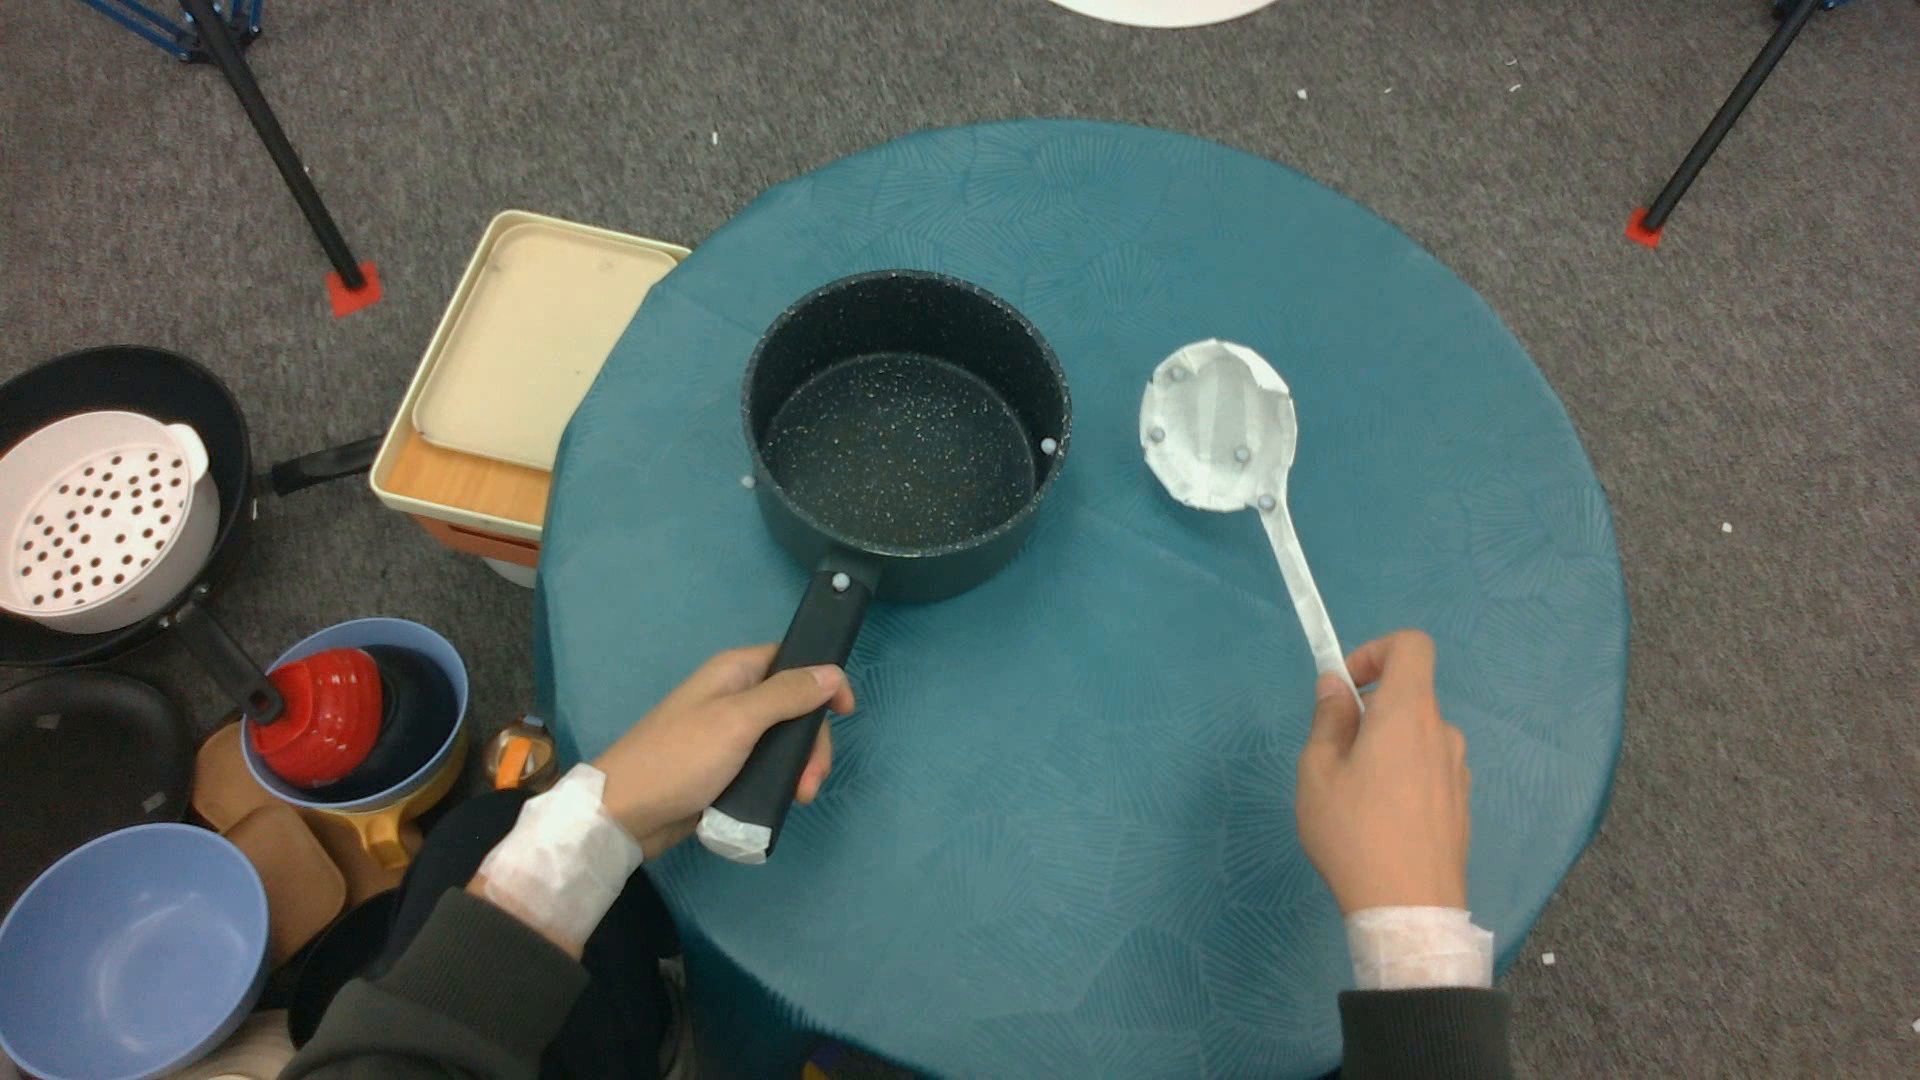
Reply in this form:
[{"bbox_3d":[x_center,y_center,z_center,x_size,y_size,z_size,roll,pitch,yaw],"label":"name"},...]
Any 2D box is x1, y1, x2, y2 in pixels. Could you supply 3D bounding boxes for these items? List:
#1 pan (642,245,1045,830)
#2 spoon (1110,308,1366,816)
[{"bbox_3d":[-0.071,-0.001,0.698,0.172,0.086,0.330,20,62,3],"label":"pan"},{"bbox_3d":[0.132,0.005,0.677,0.059,0.100,0.278,18,46,-33],"label":"spoon"}]
